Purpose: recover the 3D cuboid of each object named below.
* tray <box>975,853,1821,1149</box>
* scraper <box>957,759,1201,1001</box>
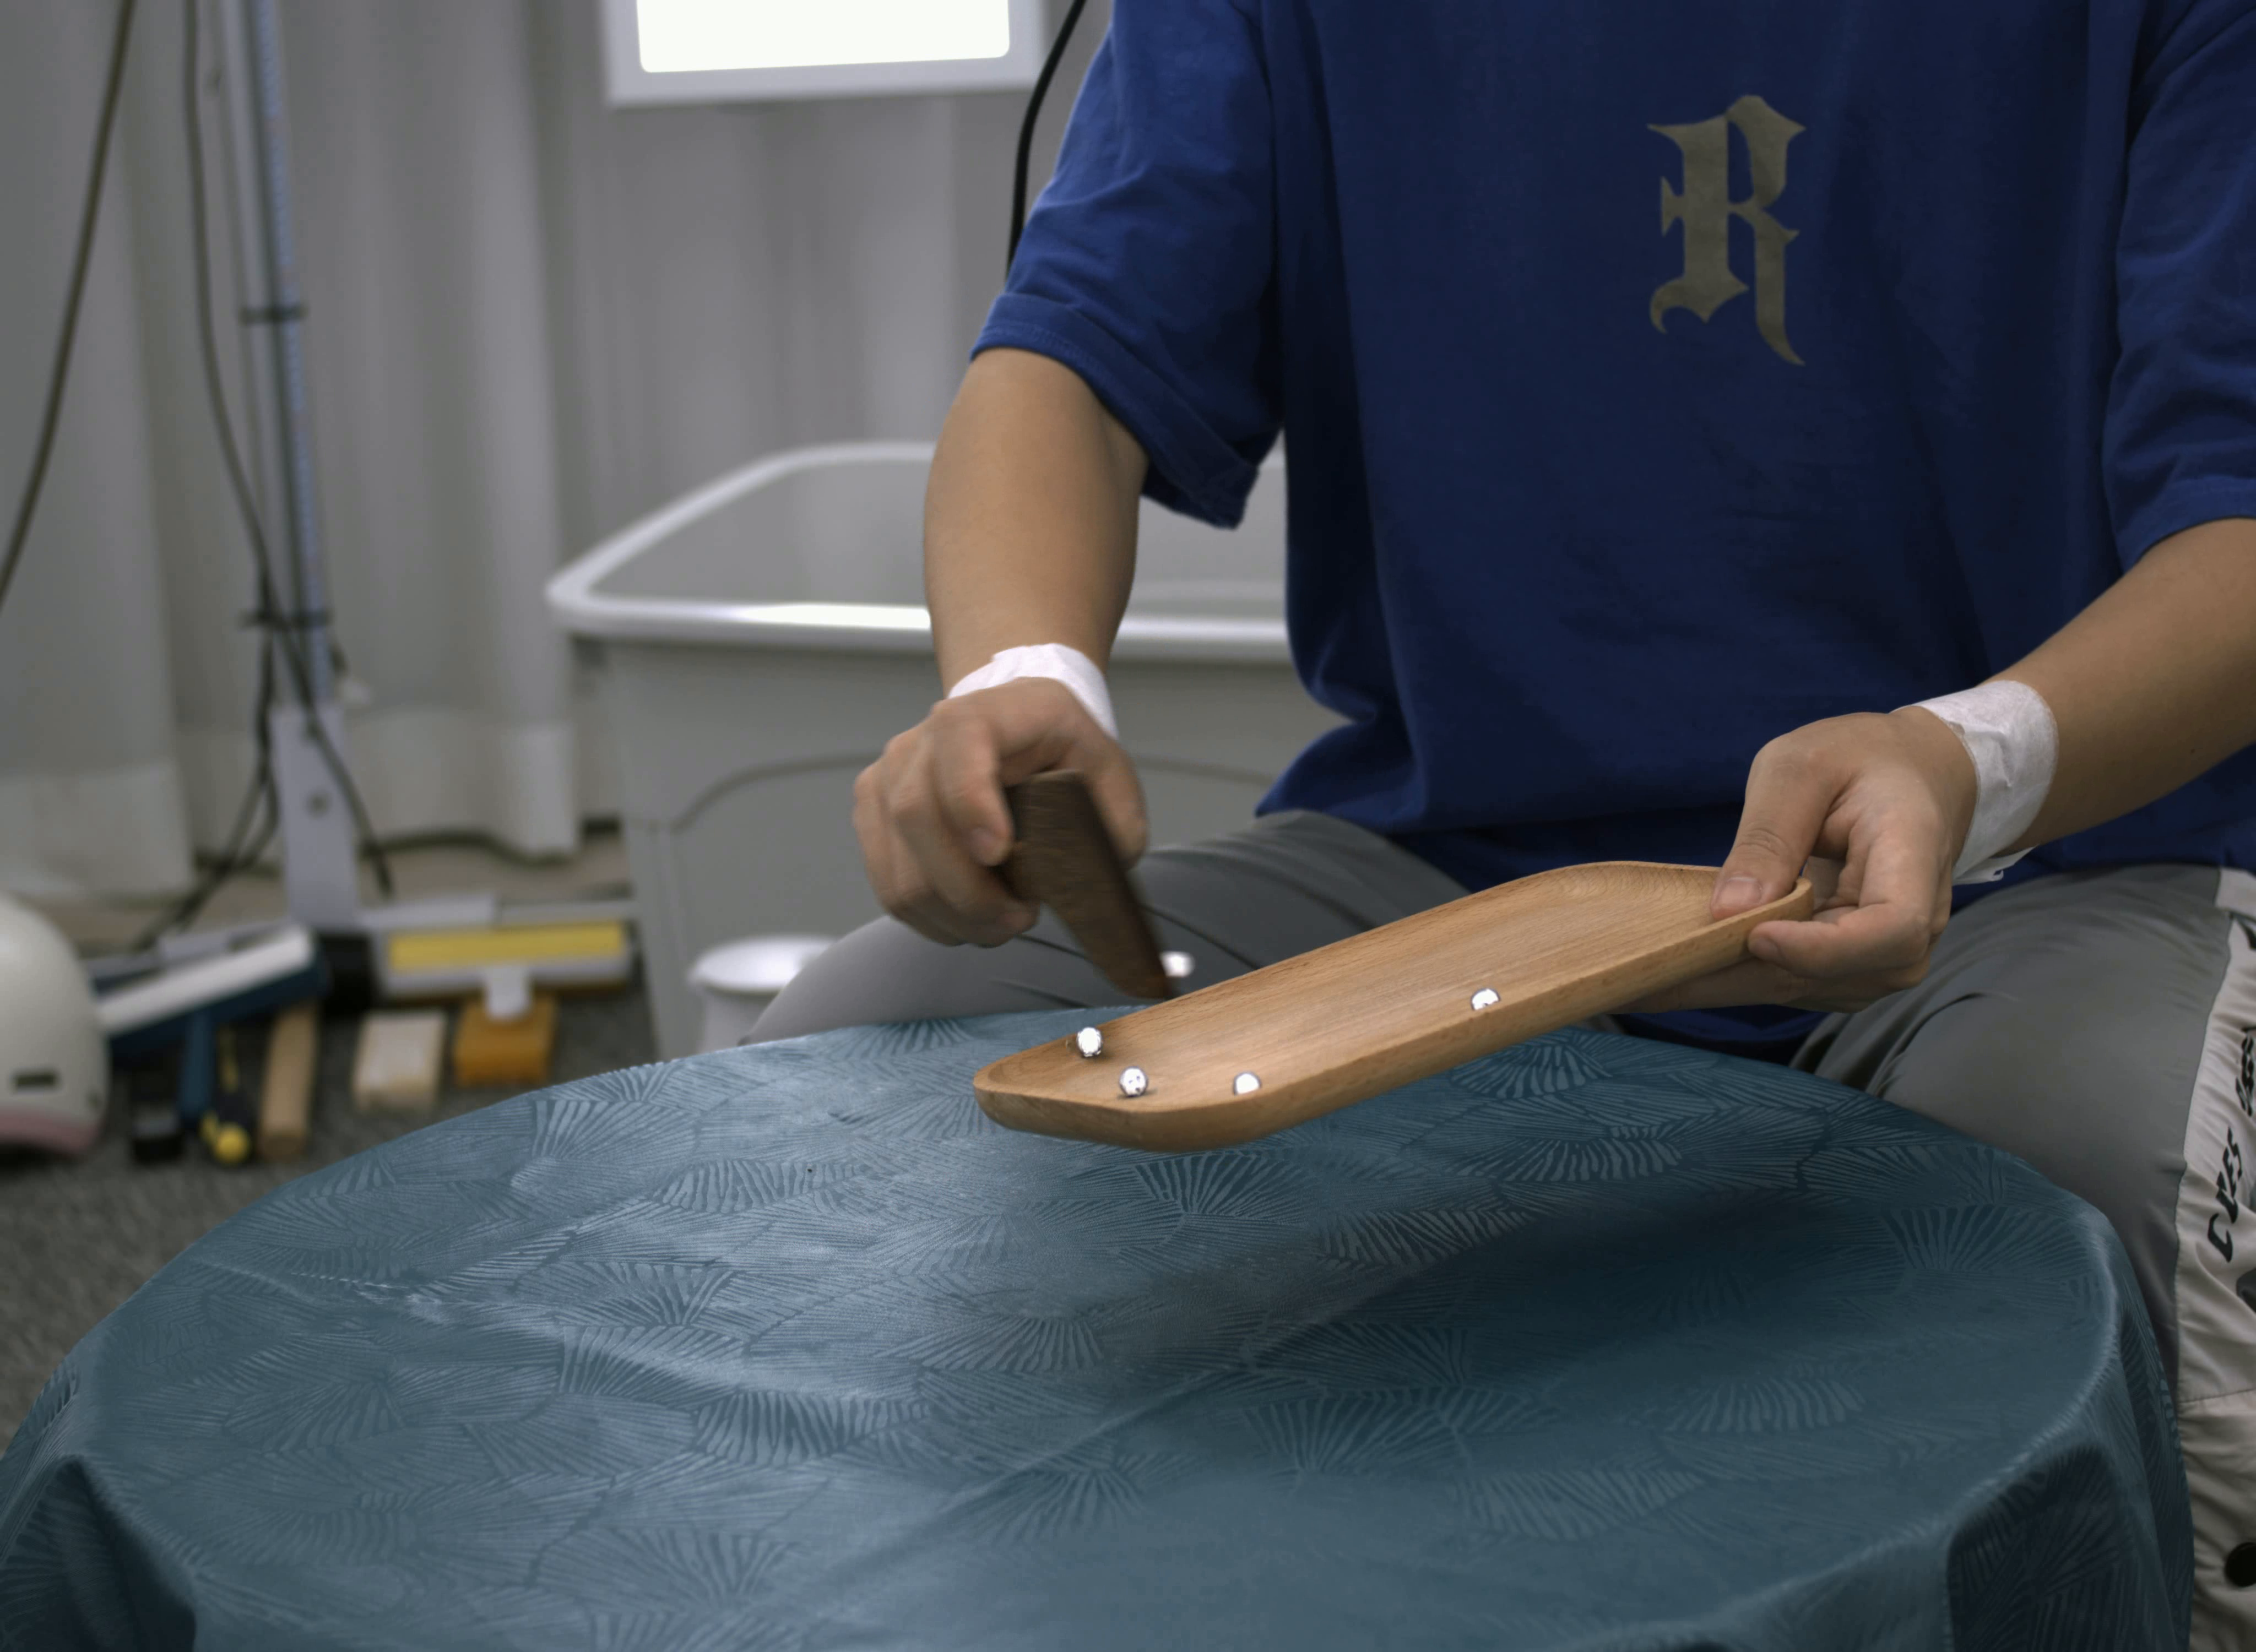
[{"bbox_3d":[0.081,0.049,1.602,0.250,0.023,0.131,-17,15,-32],"label":"tray"},{"bbox_3d":[-0.022,0.013,1.671,0.011,0.076,0.212,-25,9,-13],"label":"scraper"}]
